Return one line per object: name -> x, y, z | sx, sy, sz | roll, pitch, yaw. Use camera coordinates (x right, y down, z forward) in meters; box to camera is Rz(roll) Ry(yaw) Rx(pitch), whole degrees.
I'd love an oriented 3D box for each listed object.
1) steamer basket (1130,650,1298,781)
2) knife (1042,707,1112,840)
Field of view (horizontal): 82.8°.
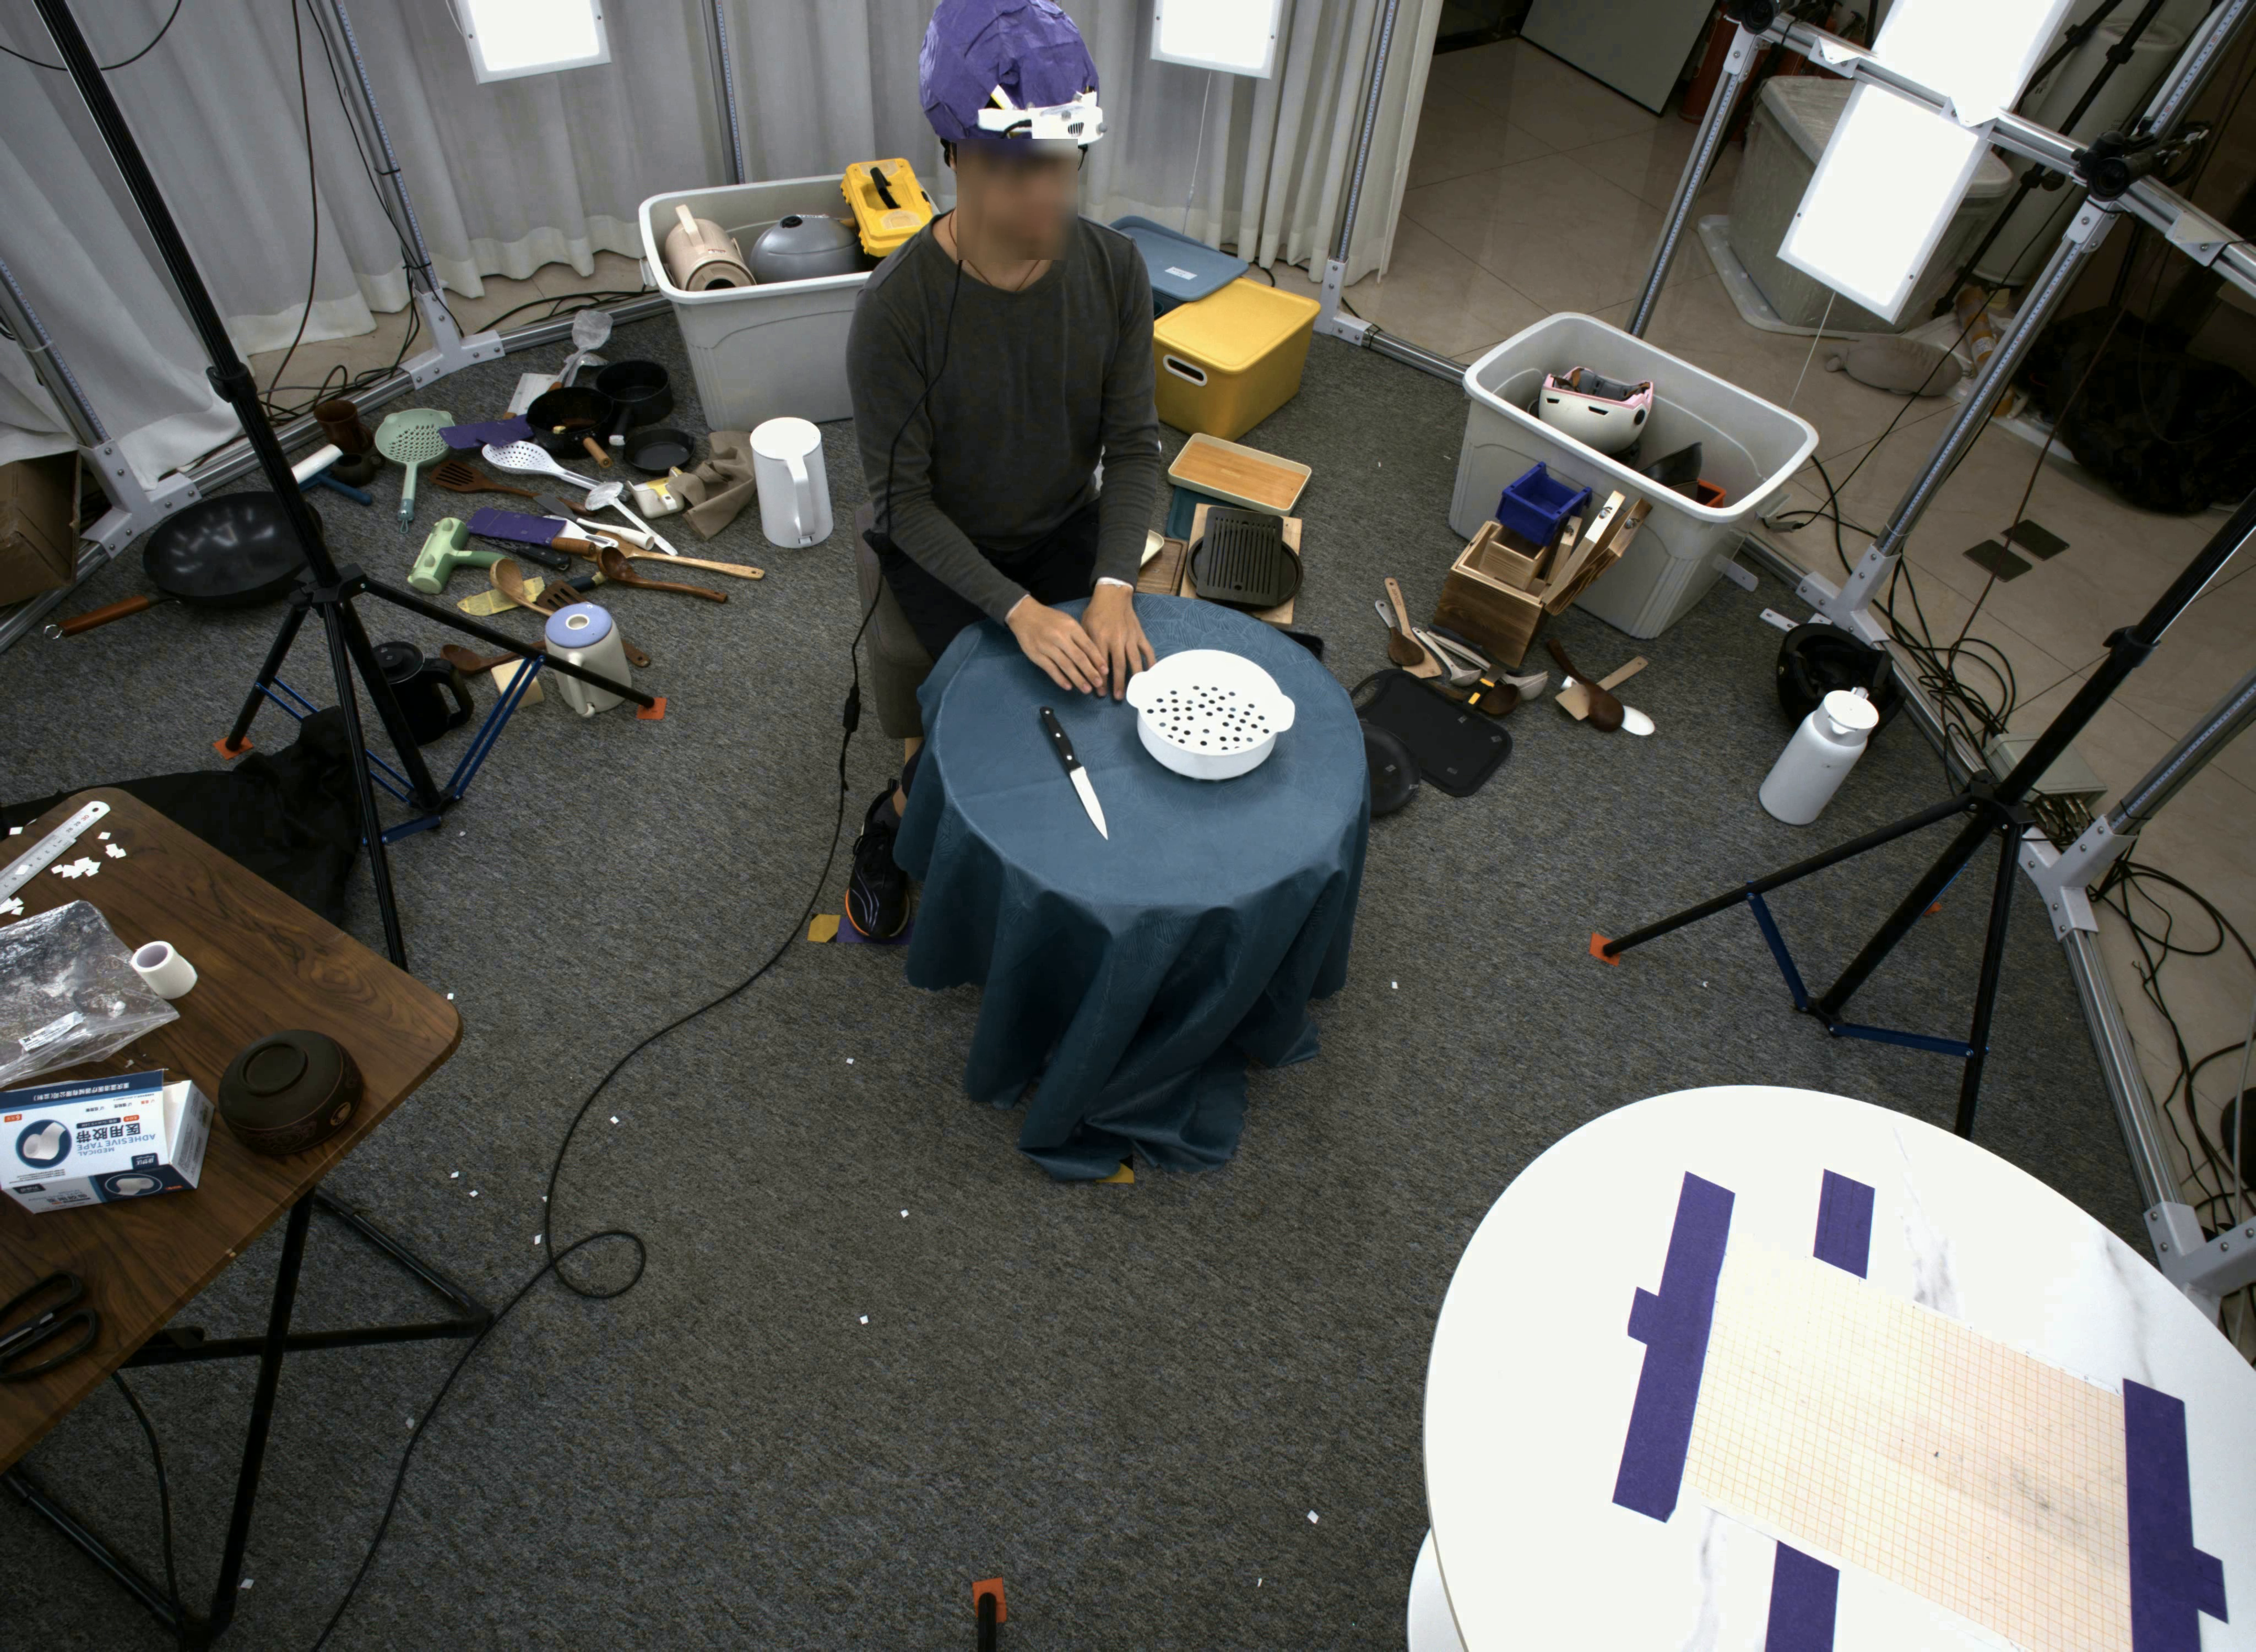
steamer basket -> 0.116, -0.152, 1.763 | 0.231, 0.067, 0.206 | 10, 49, 6
knife -> -0.070, -0.071, 1.717 | 0.024, 0.016, 0.243 | -16, 54, -16
